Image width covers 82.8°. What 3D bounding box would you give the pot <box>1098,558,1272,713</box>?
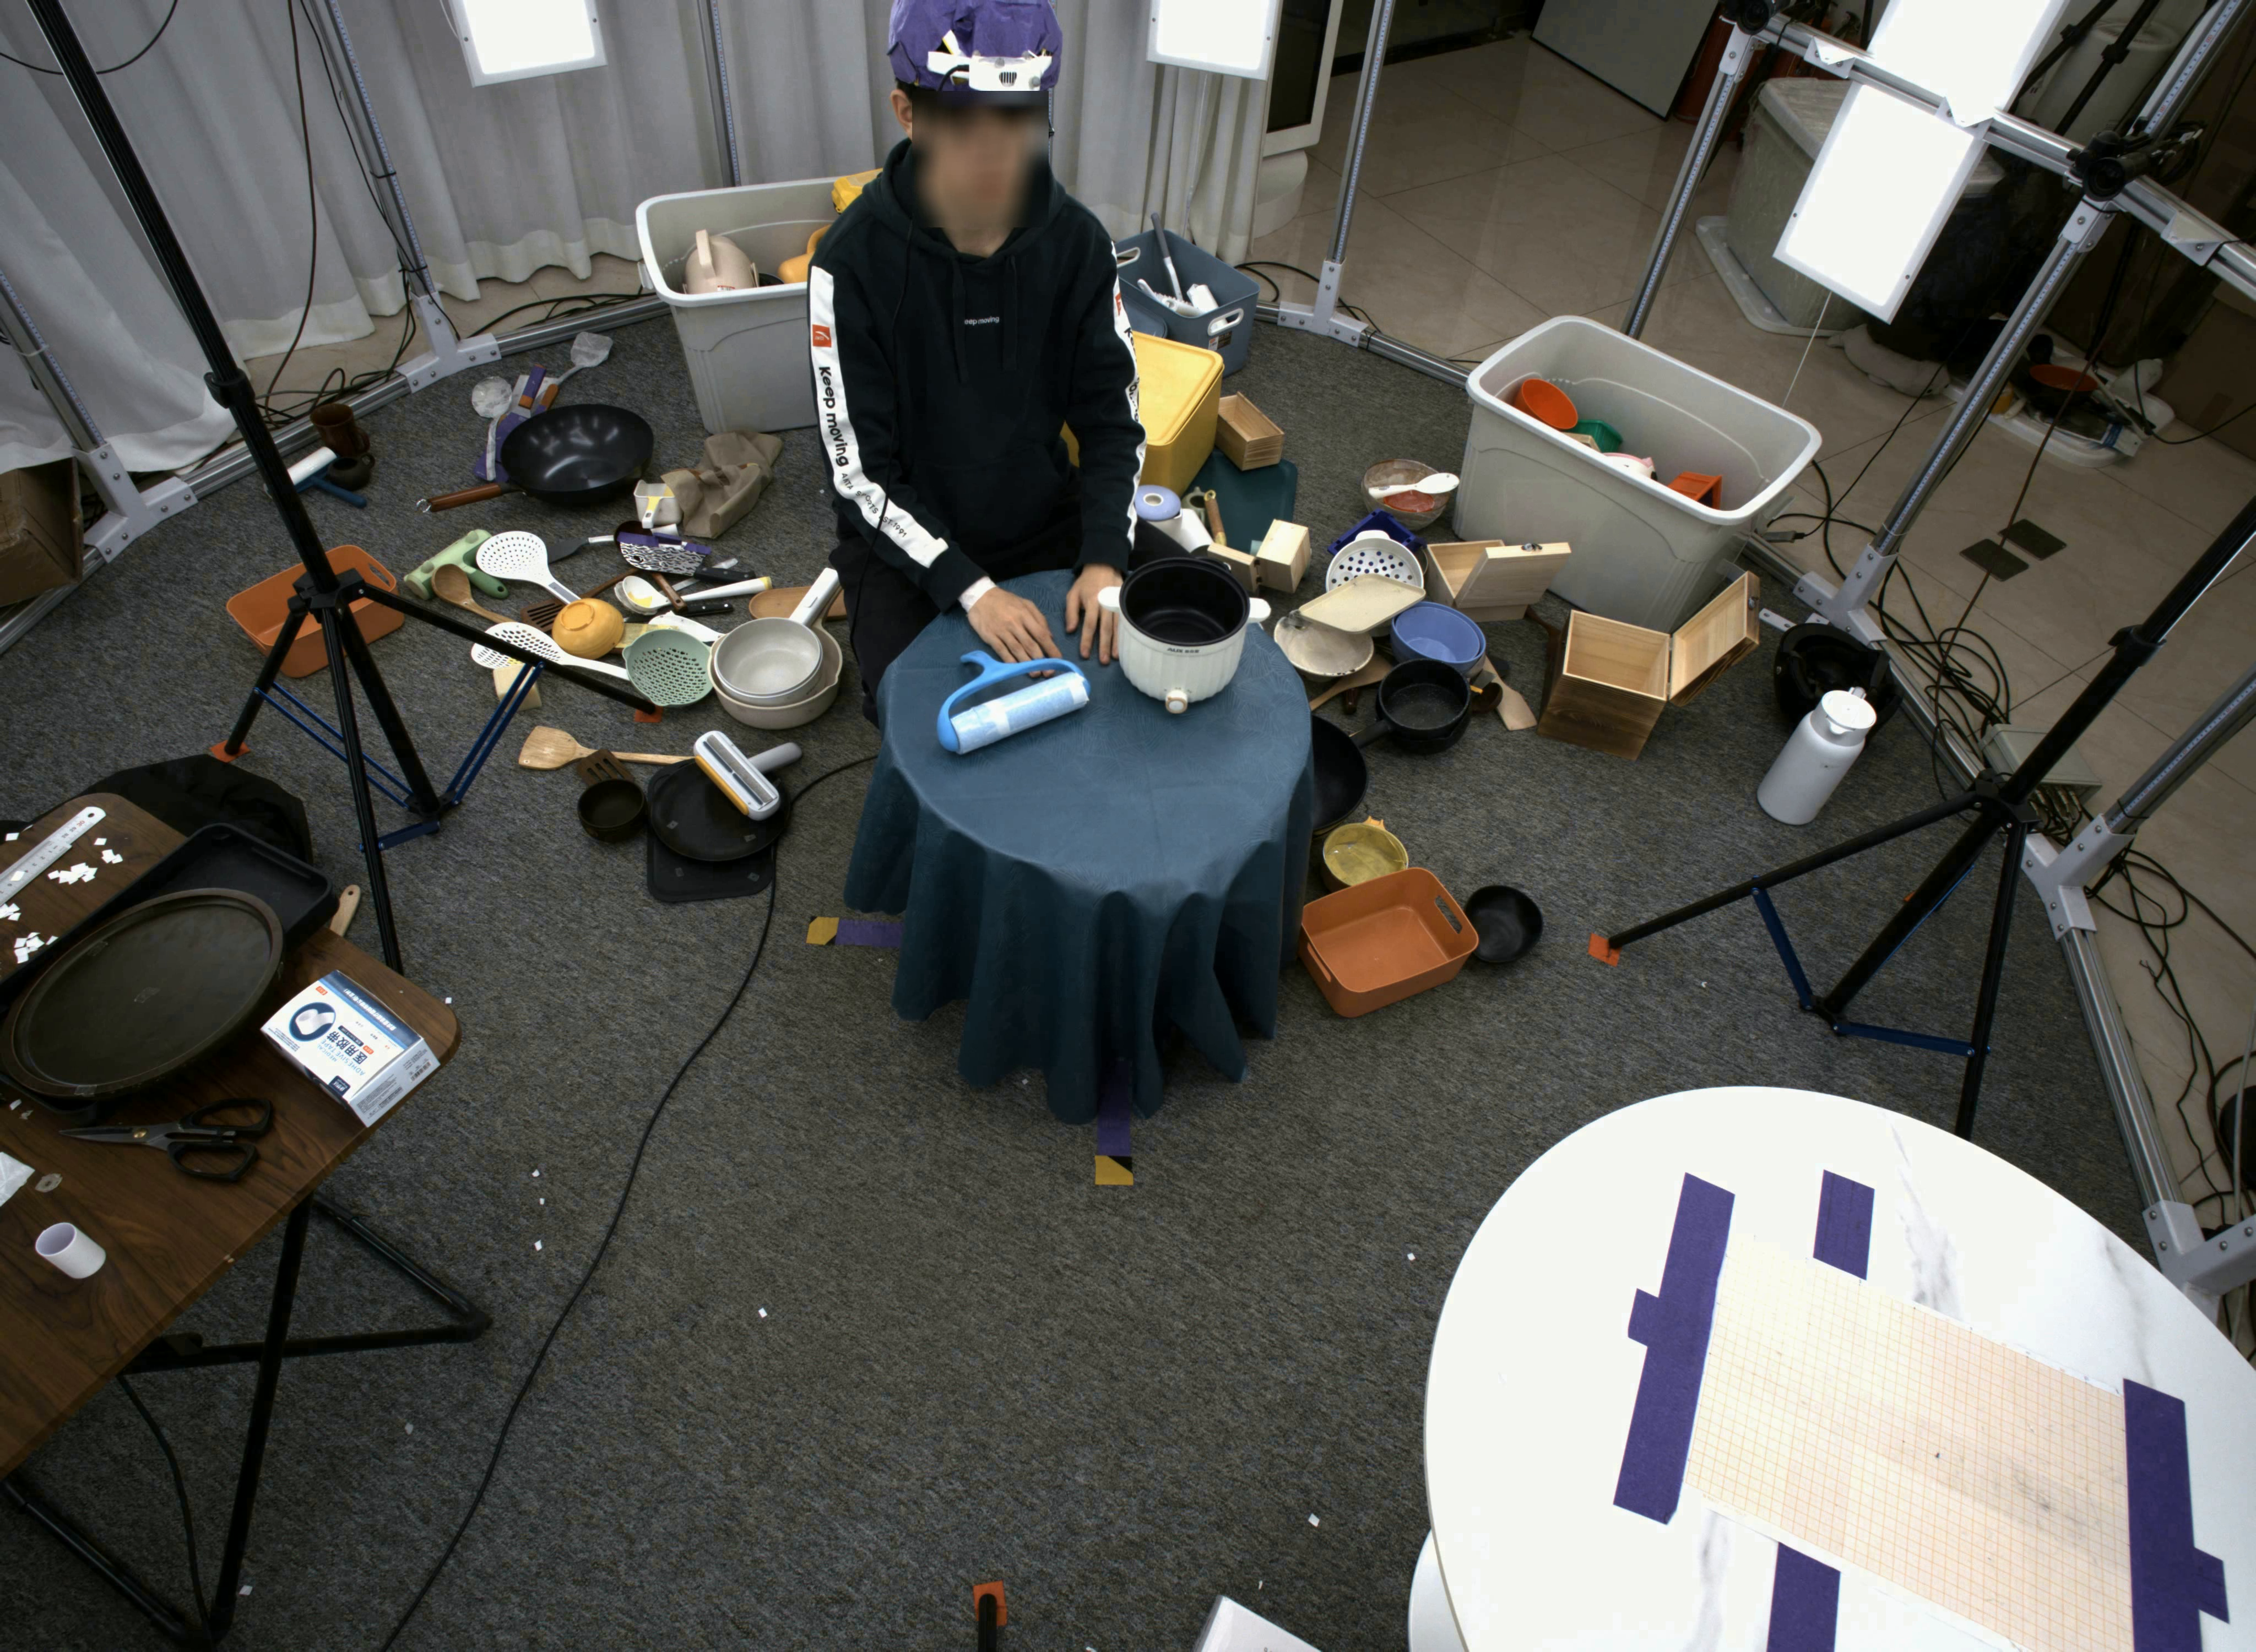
[{"bbox_3d":[0.076,-0.265,1.813,0.240,0.139,0.195,3,46,0],"label":"pot"}]

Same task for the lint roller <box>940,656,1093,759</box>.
[{"bbox_3d":[-0.183,-0.193,1.788,0.230,0.066,0.184,-28,56,-22],"label":"lint roller"}]
